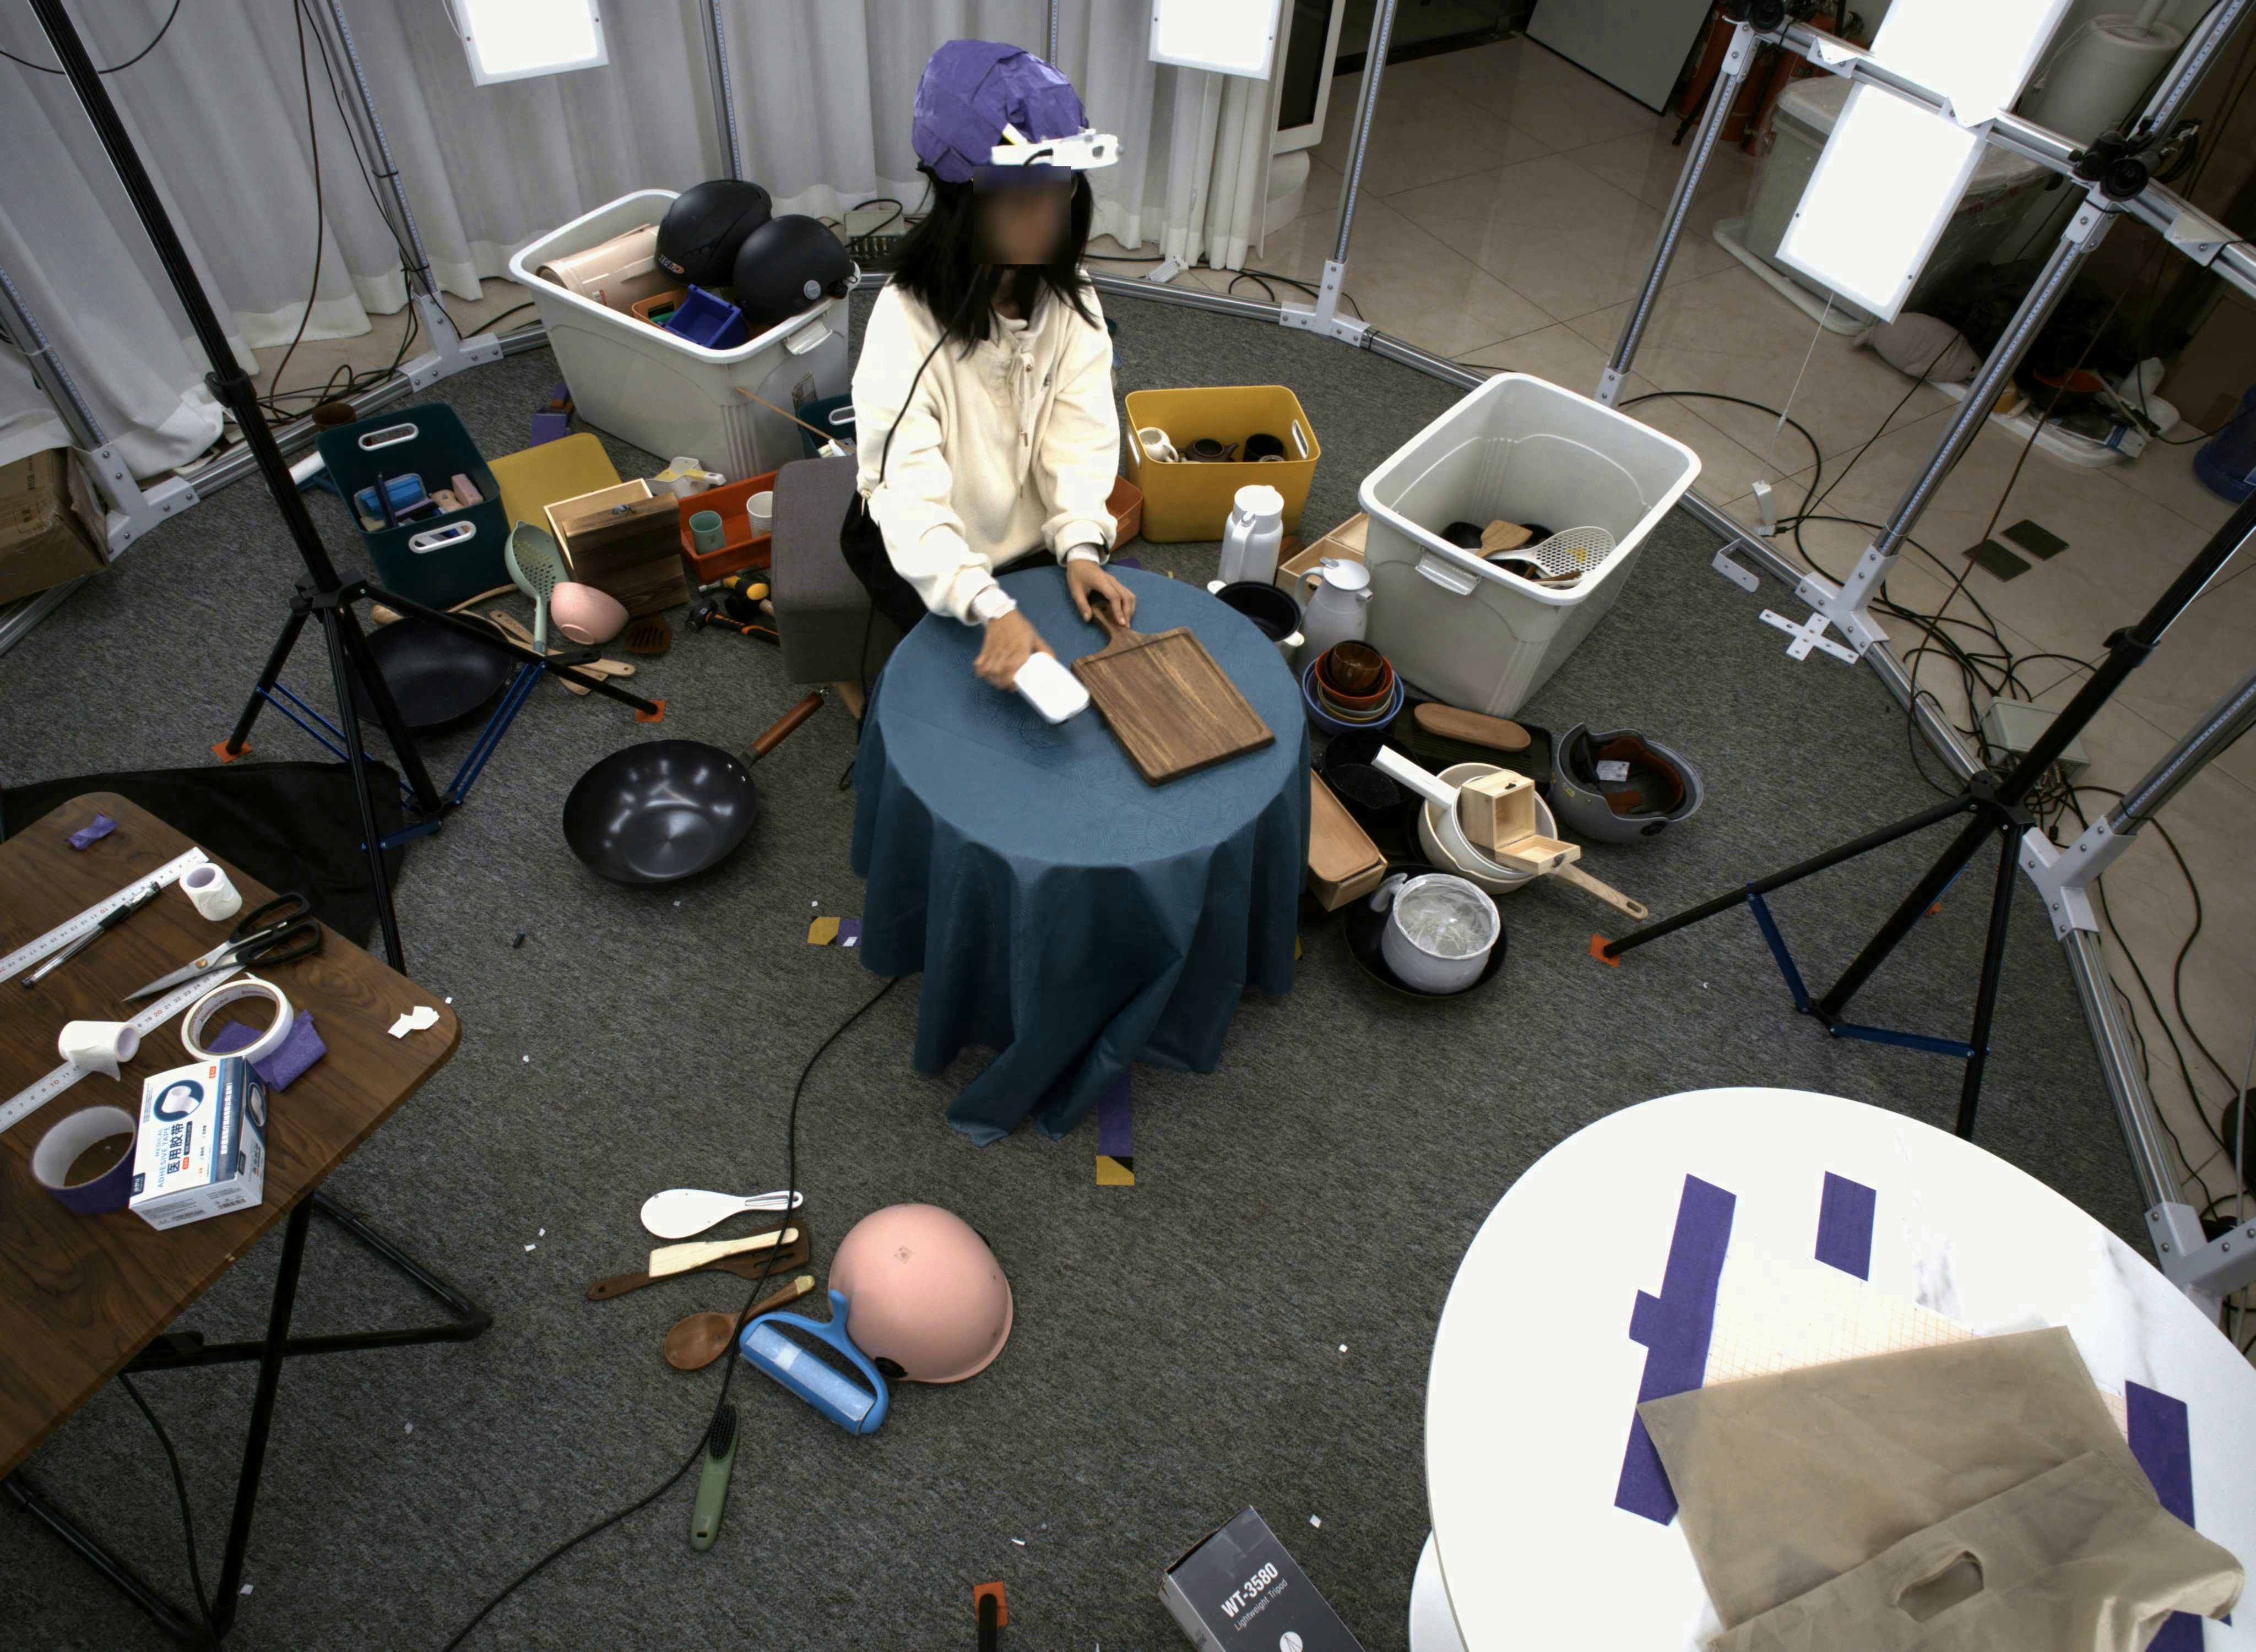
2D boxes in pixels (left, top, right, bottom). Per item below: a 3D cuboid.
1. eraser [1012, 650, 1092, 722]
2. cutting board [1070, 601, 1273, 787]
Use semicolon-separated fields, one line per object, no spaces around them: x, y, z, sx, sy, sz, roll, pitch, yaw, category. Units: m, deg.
-0.103;-0.195;1.760;0.064;0.033;0.134;-29;51;-20;eraser
0.036;-0.209;1.840;0.201;0.022;0.360;-20;53;-20;cutting board
